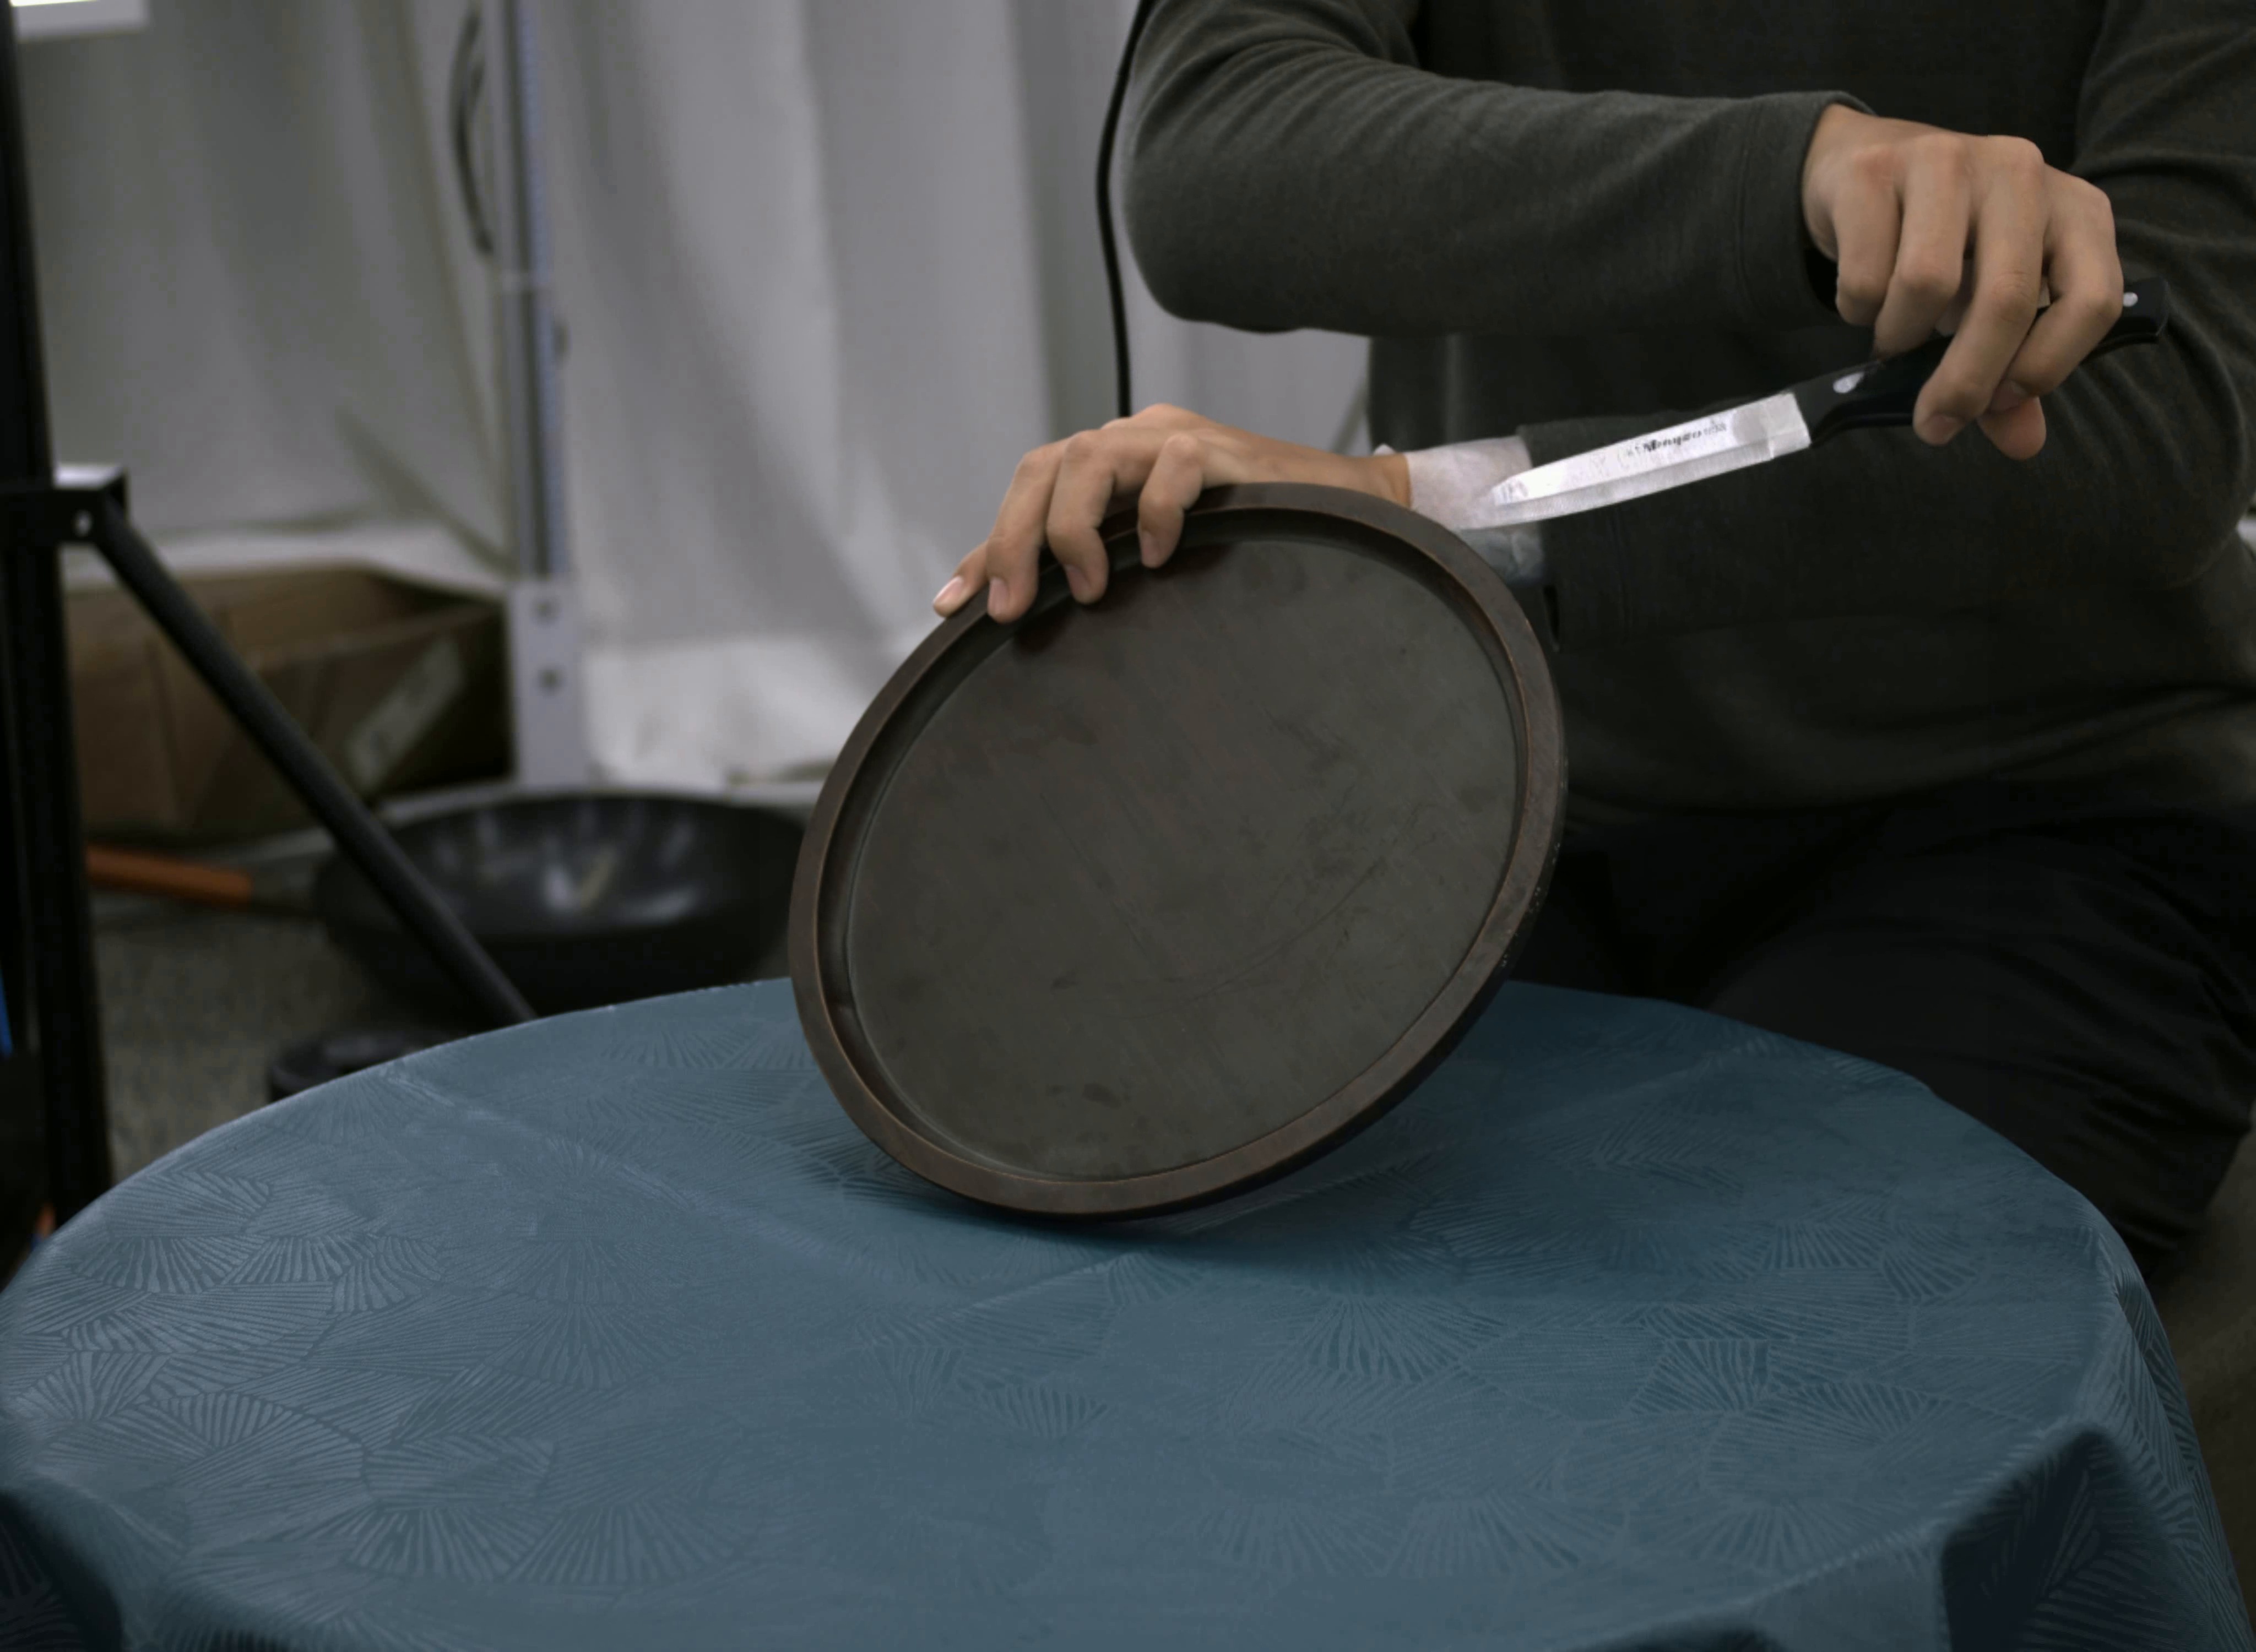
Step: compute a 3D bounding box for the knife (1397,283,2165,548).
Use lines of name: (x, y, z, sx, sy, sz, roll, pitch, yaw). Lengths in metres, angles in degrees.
knife: (0.193, -0.120, 1.580, 0.238, 0.016, 0.025, -16, 58, 7)

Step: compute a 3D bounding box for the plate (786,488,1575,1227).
plate: (0.016, 0.008, 1.589, 0.257, 0.028, 0.258, -15, 53, 20)
